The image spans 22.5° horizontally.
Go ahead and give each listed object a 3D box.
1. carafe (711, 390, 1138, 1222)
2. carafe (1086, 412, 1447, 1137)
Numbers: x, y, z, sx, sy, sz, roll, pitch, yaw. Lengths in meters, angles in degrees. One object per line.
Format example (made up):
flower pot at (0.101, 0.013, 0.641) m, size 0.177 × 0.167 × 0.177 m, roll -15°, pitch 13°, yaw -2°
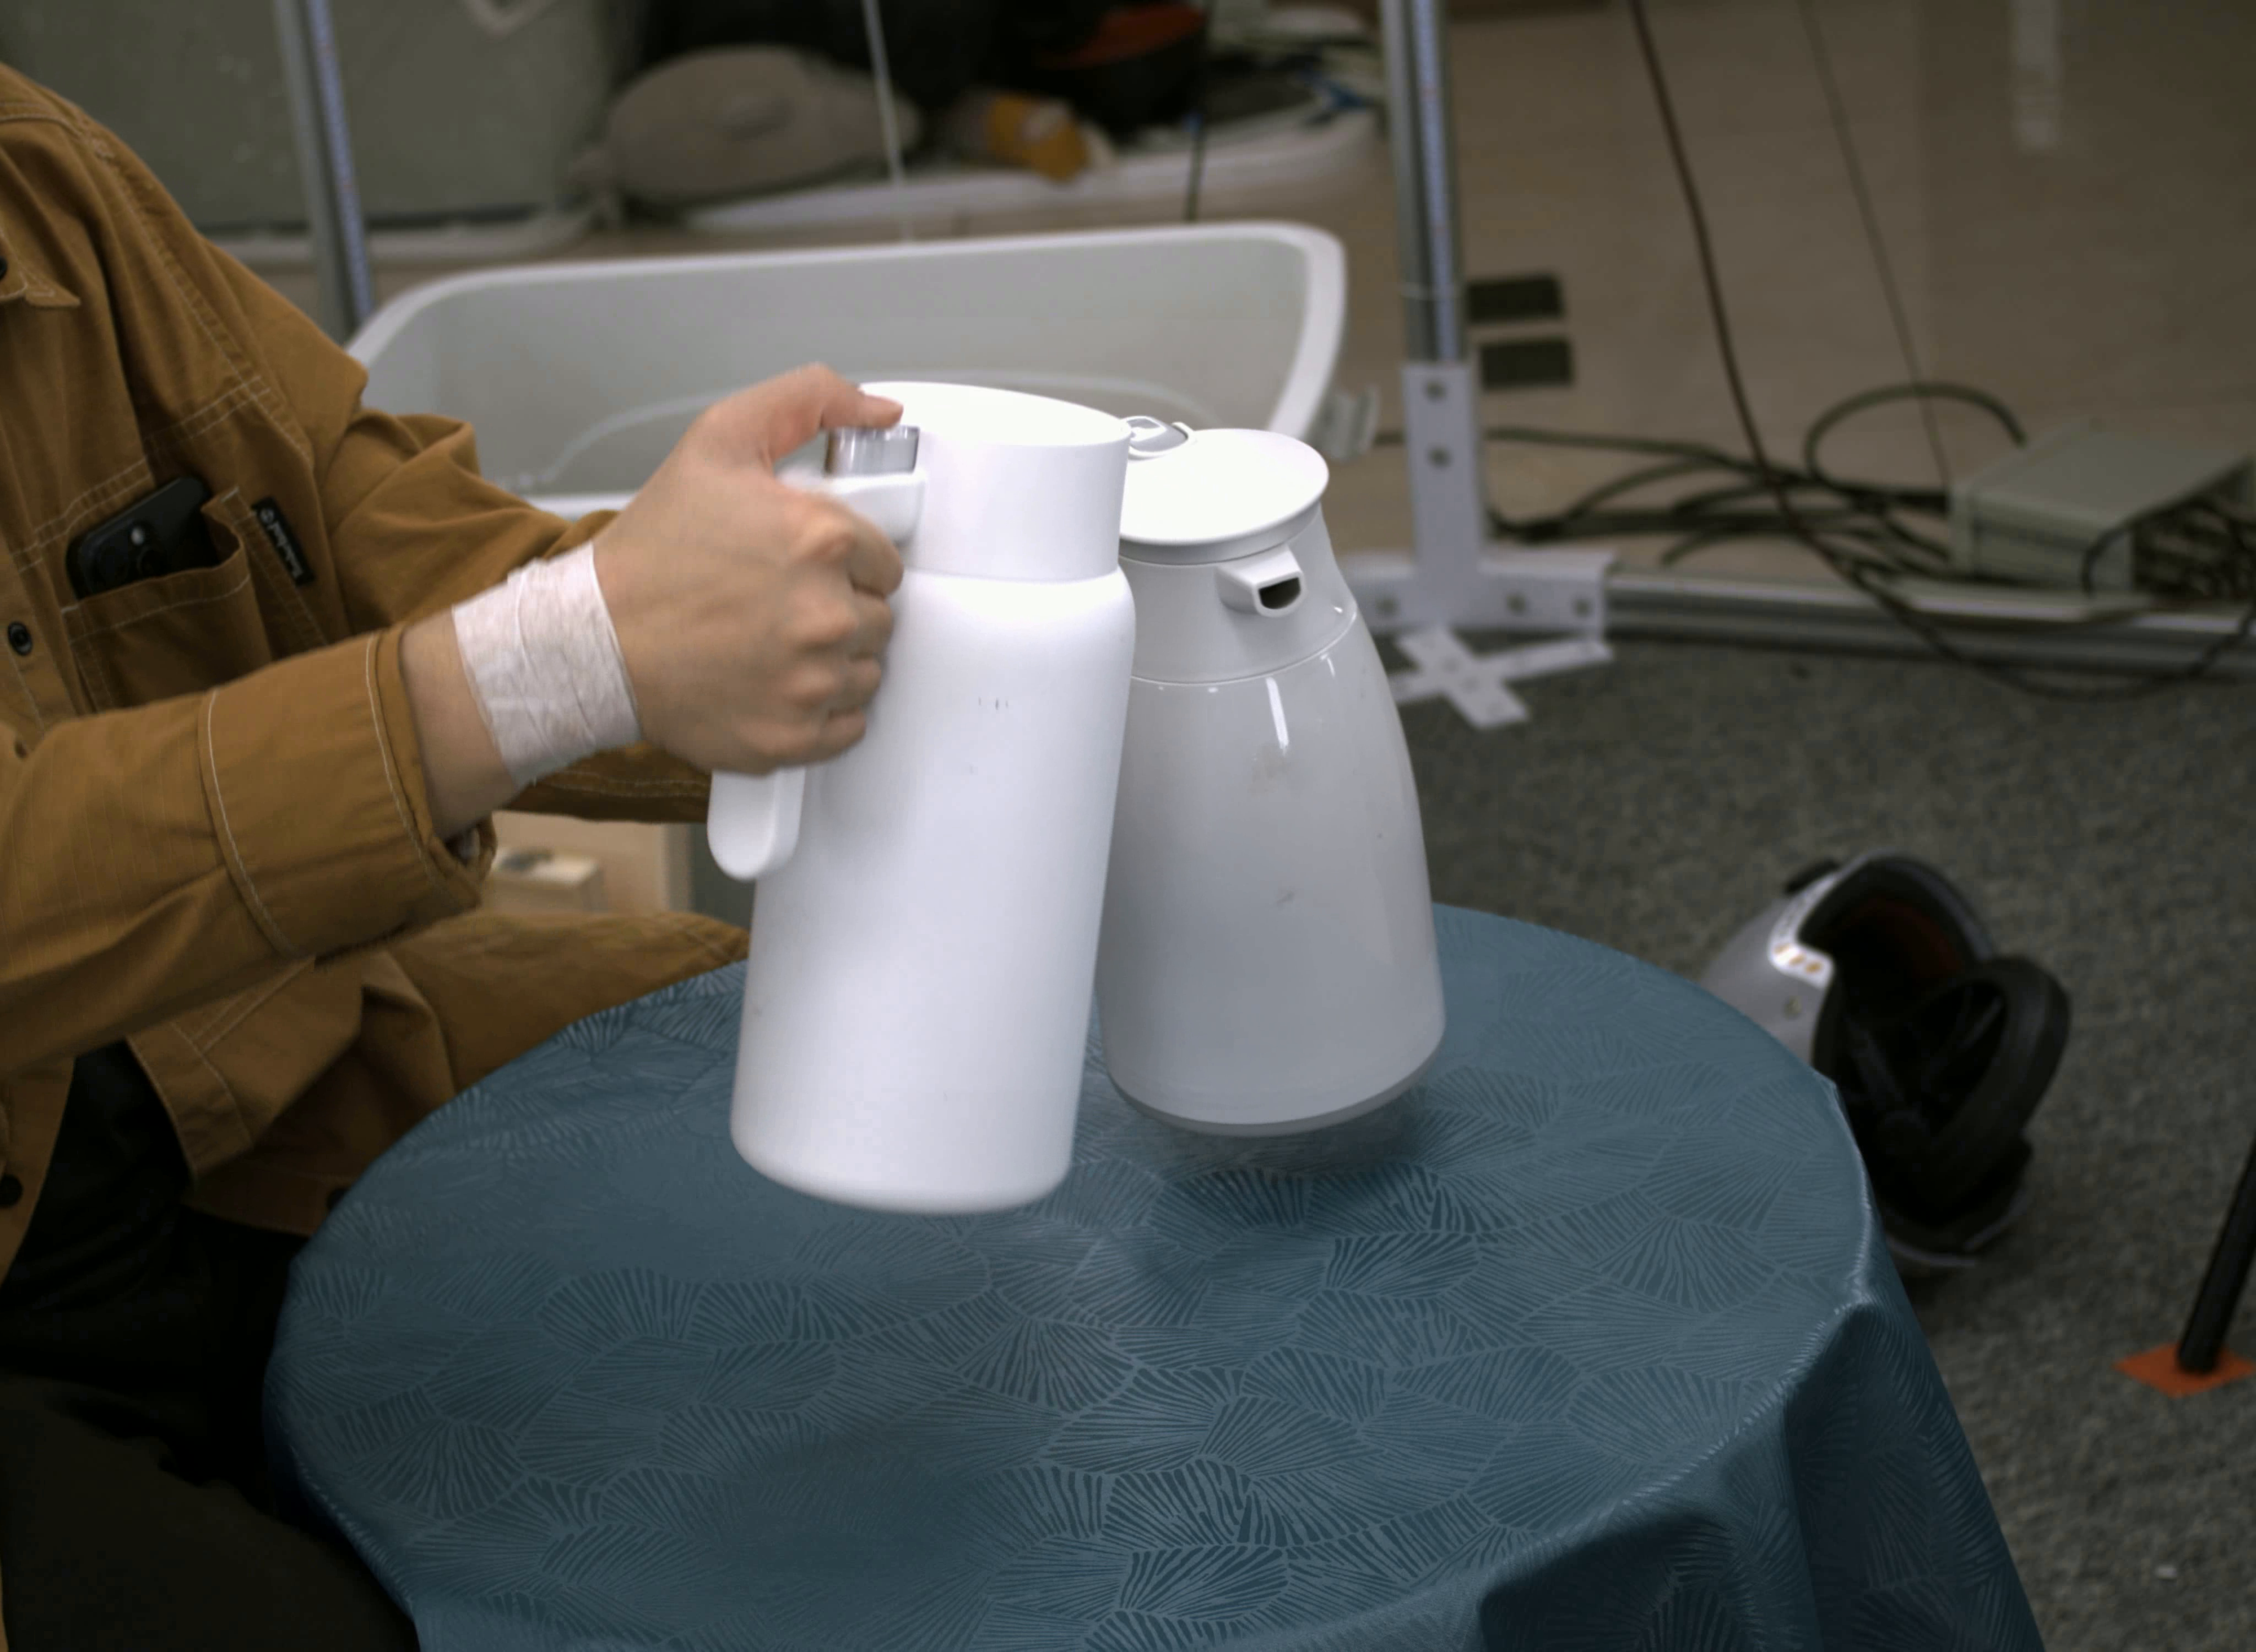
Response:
carafe at (-0.071, -0.005, 1.892) m, size 0.123 × 0.272 × 0.172 m, roll 20°, pitch 20°, yaw 33°
carafe at (0.034, -0.030, 2.121) m, size 0.132 × 0.253 × 0.165 m, roll -19°, pitch 31°, yaw -18°
